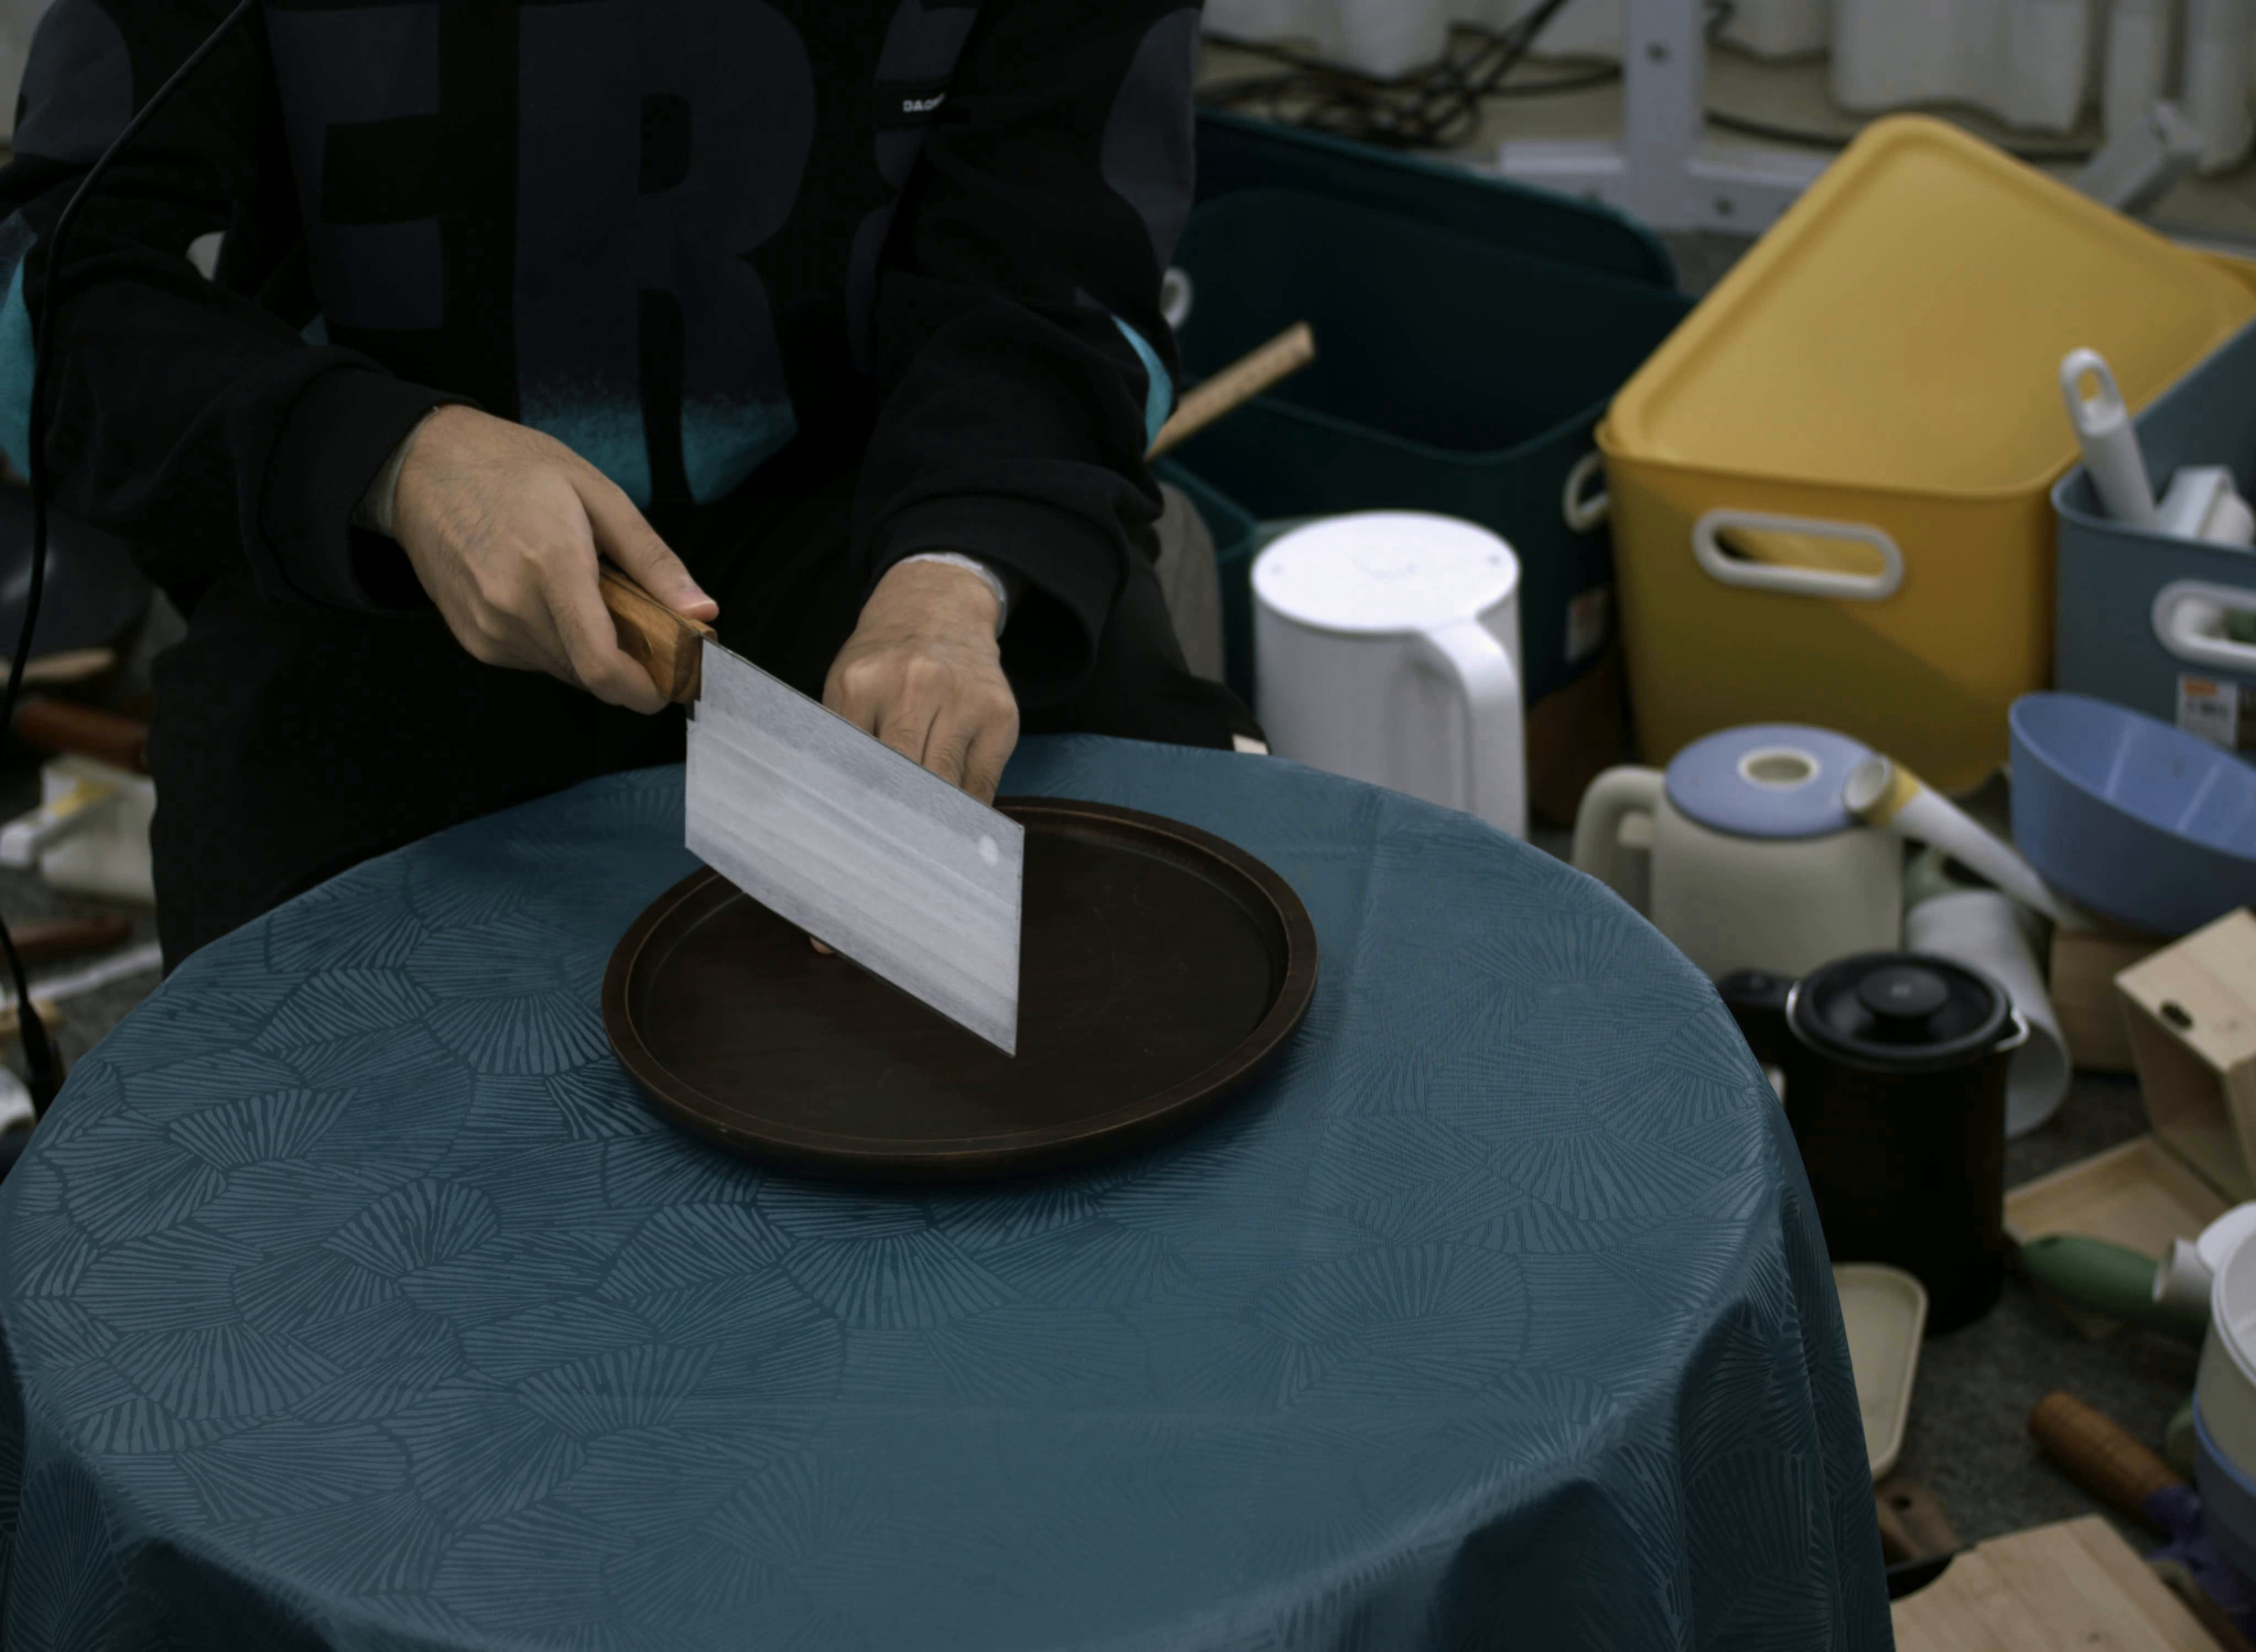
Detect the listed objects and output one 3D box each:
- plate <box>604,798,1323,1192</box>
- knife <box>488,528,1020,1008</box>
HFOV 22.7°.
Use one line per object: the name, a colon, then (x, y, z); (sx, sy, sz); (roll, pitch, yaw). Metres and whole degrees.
plate: (-0.057, 0.057, 1.965); (0.253, 0.029, 0.258); (-1, 27, 1)
knife: (-0.134, -0.019, 1.977); (0.021, 0.092, 0.306); (-18, 33, -36)
